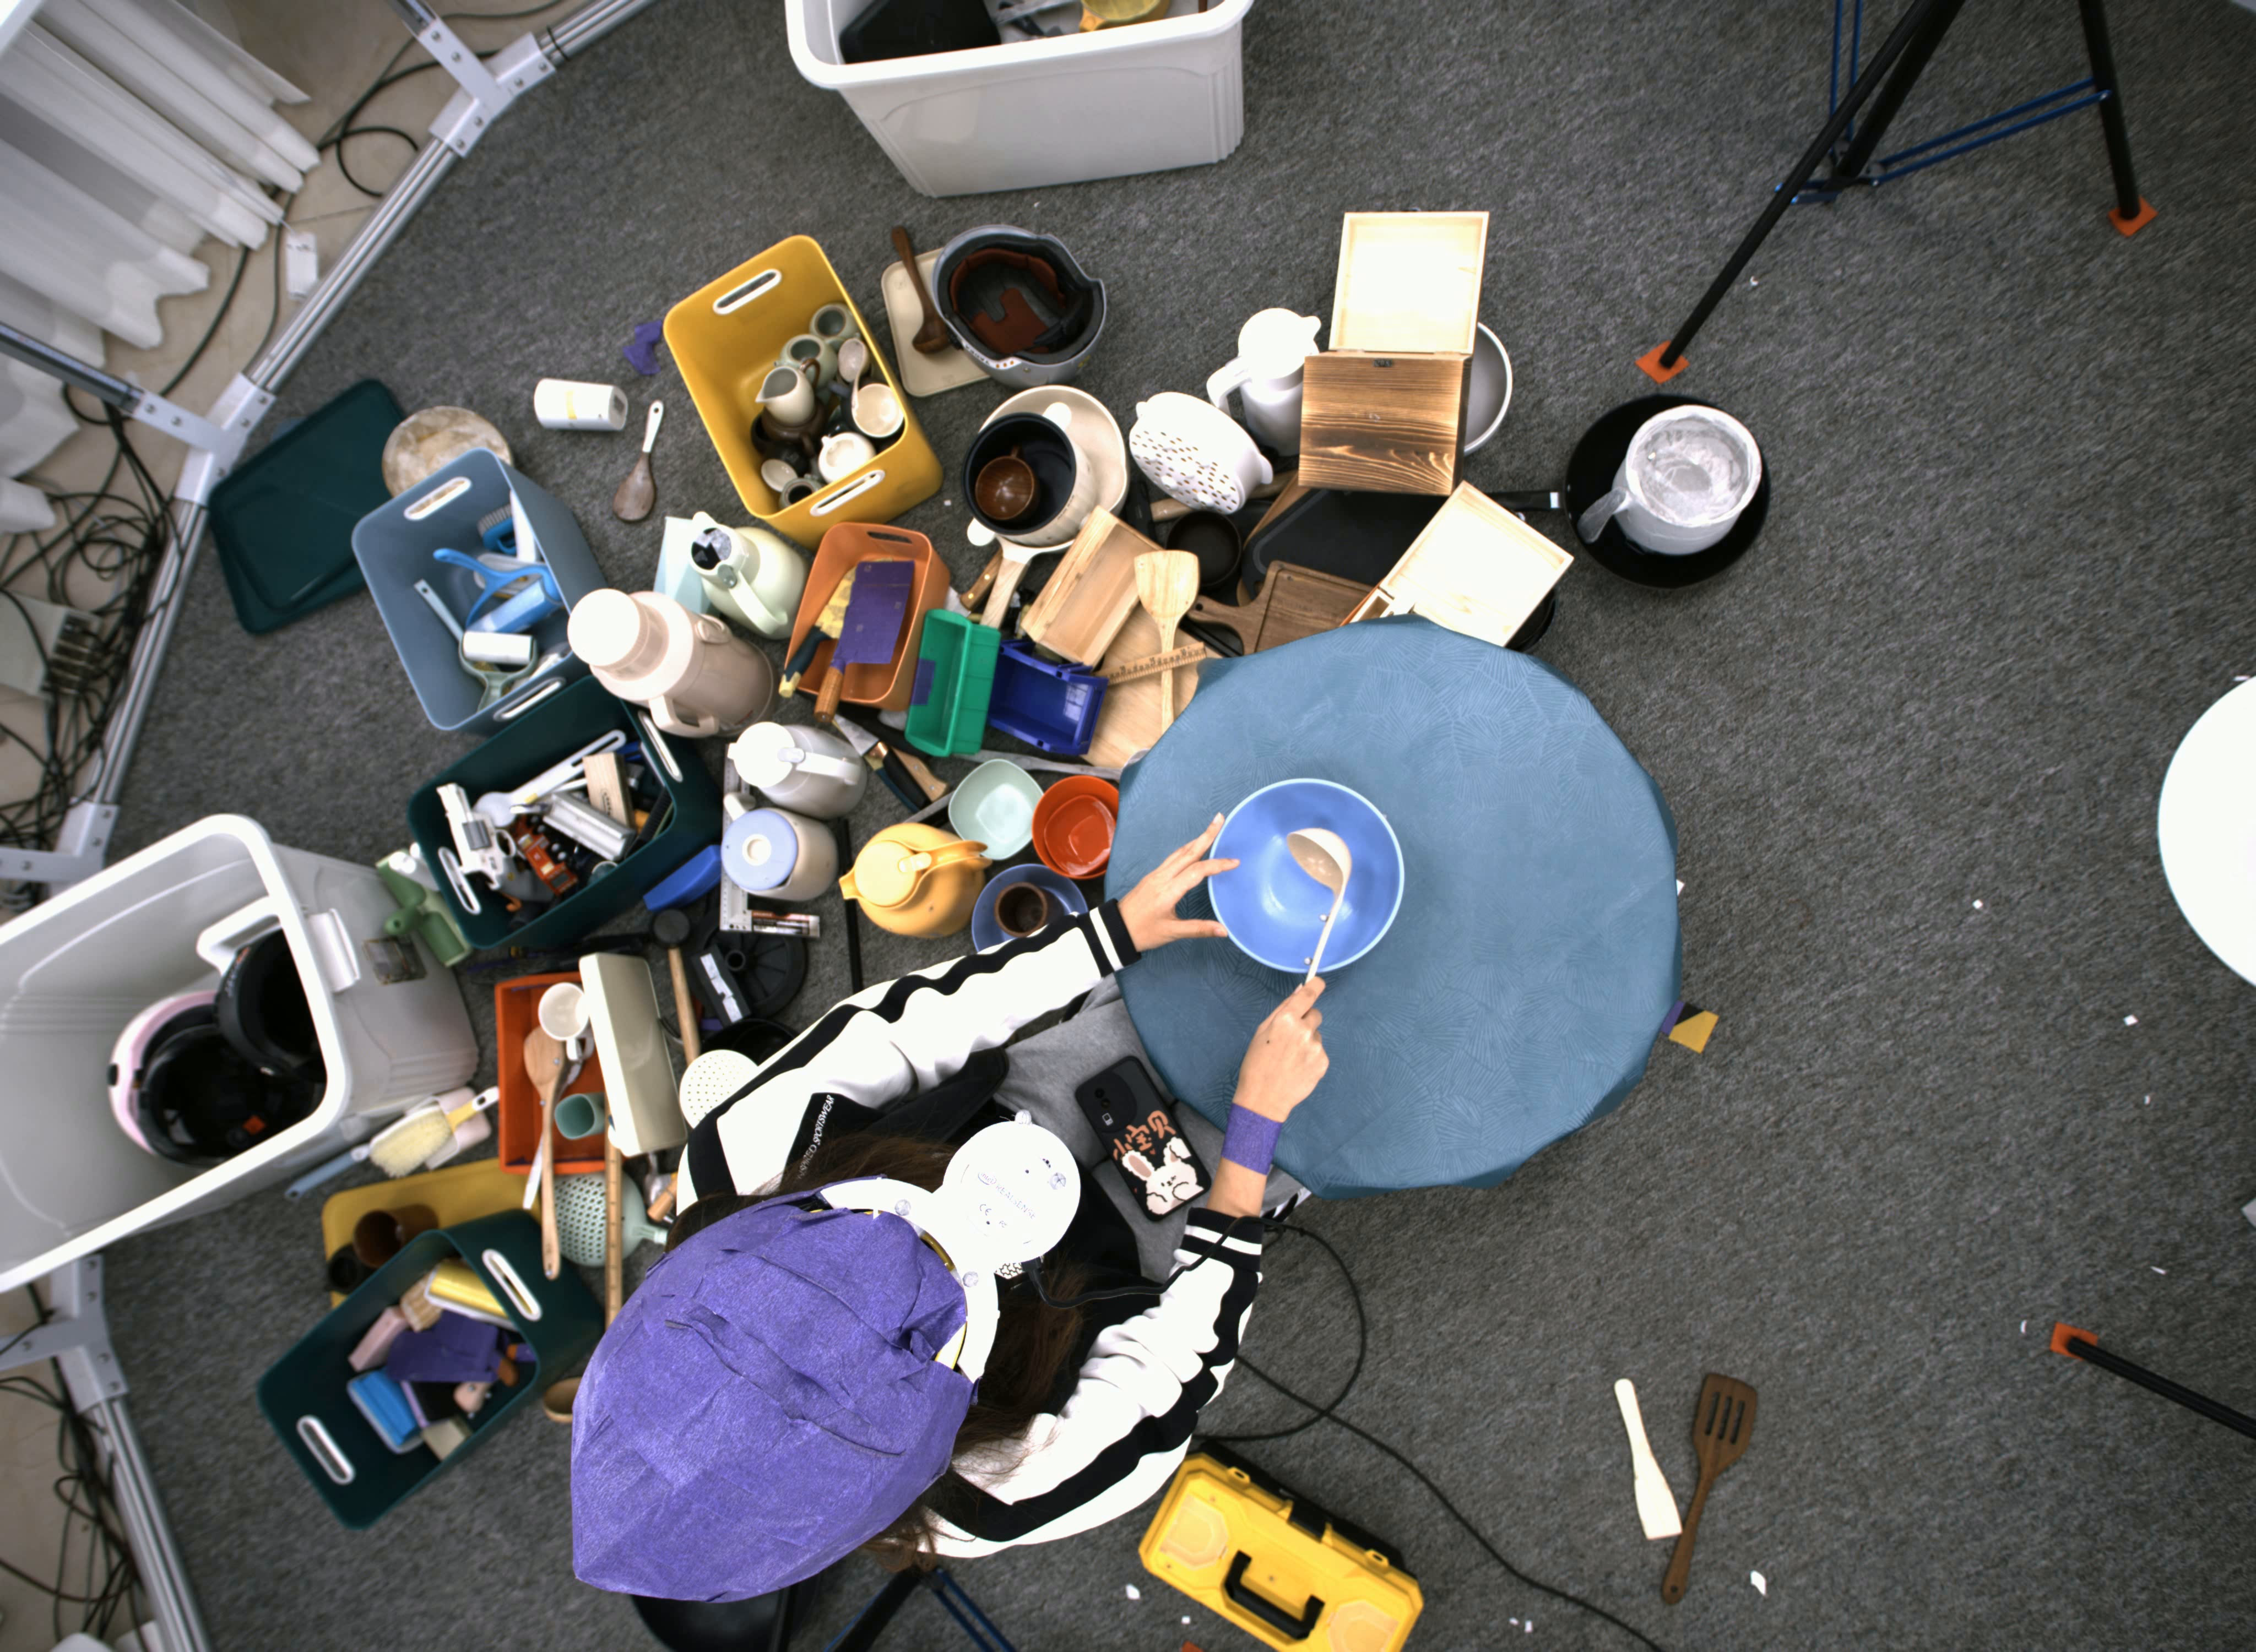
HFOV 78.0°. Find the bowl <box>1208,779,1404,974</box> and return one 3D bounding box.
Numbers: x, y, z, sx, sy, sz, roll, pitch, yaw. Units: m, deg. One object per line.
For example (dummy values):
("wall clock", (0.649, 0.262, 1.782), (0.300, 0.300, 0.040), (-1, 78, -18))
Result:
("bowl", (0.185, 0.053, 1.432), (0.197, 0.095, 0.196), (-1, 88, 10))

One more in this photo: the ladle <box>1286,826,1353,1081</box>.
("ladle", (0.165, 0.119, 1.362), (0.073, 0.073, 0.249), (22, 68, -11))
